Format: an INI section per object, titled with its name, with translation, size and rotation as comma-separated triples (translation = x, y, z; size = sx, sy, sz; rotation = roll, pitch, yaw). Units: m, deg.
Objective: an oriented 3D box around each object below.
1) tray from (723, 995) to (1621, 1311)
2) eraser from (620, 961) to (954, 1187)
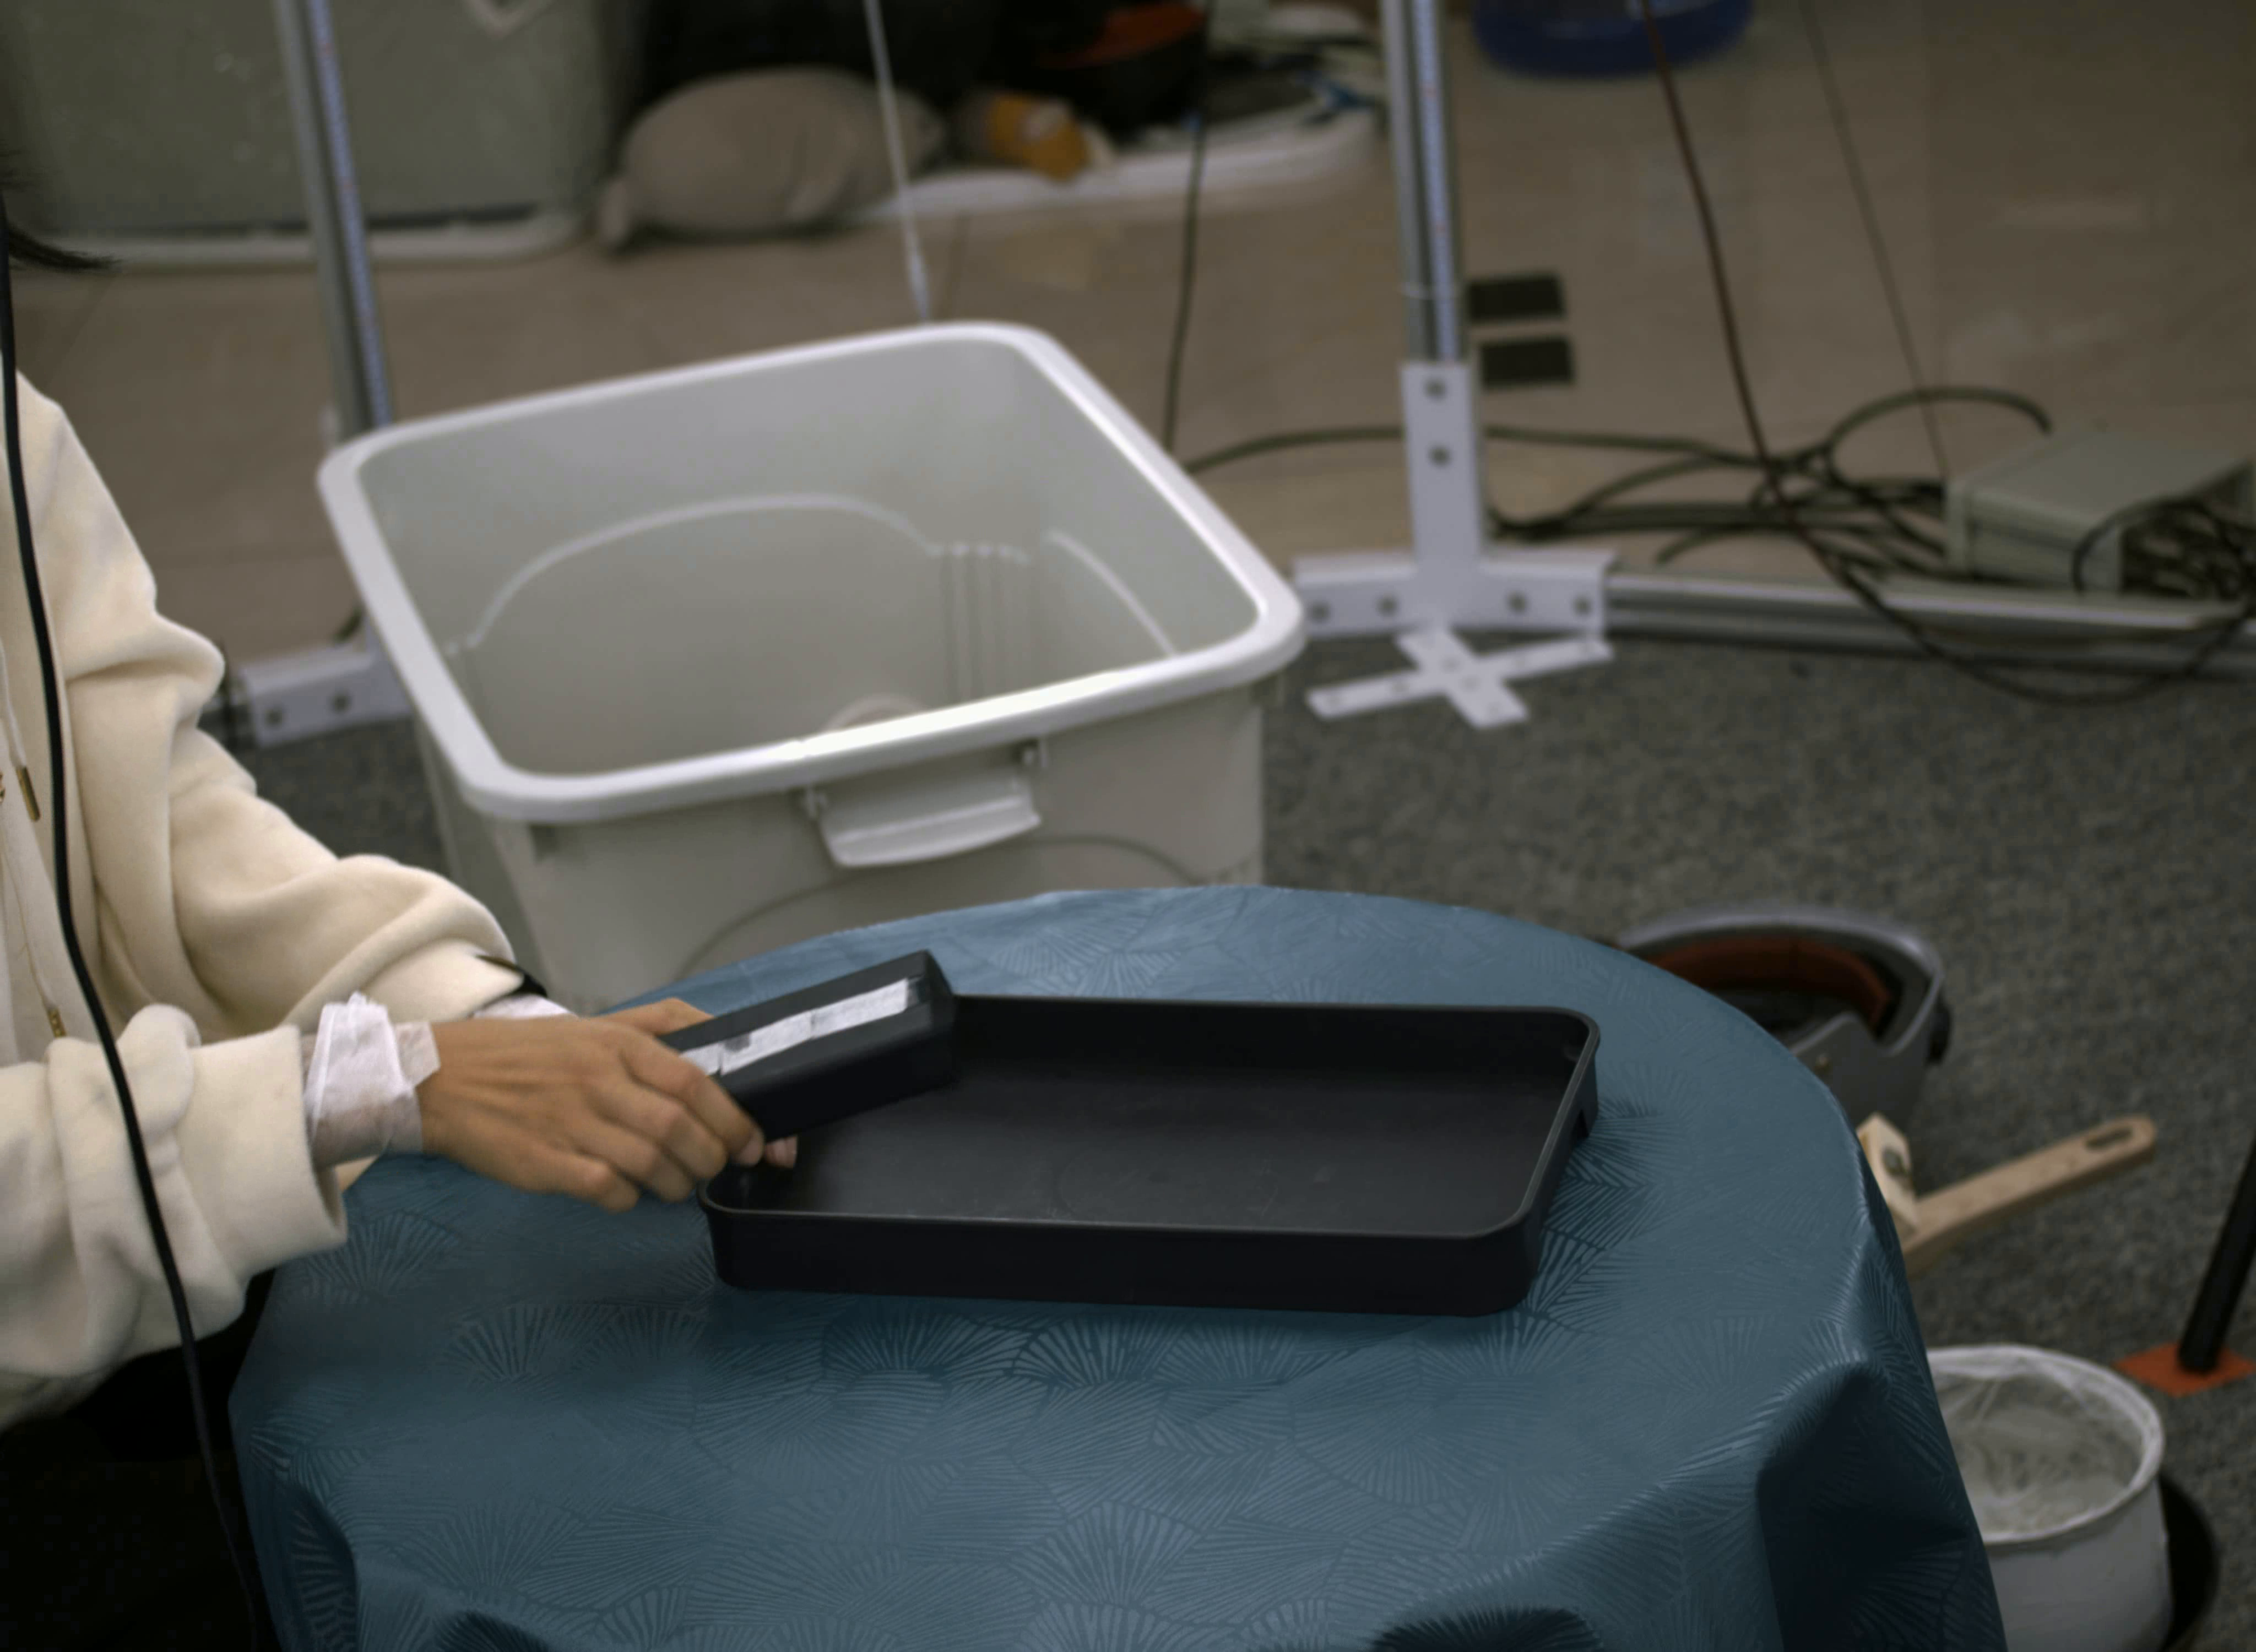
[tray]
translation = 0.020, 0.121, 2.137
size = 0.317, 0.037, 0.181
rotation = 0, 26, 13
[eraser]
translation = -0.124, 0.090, 2.076
size = 0.125, 0.031, 0.052
rotation = -19, 35, 11
